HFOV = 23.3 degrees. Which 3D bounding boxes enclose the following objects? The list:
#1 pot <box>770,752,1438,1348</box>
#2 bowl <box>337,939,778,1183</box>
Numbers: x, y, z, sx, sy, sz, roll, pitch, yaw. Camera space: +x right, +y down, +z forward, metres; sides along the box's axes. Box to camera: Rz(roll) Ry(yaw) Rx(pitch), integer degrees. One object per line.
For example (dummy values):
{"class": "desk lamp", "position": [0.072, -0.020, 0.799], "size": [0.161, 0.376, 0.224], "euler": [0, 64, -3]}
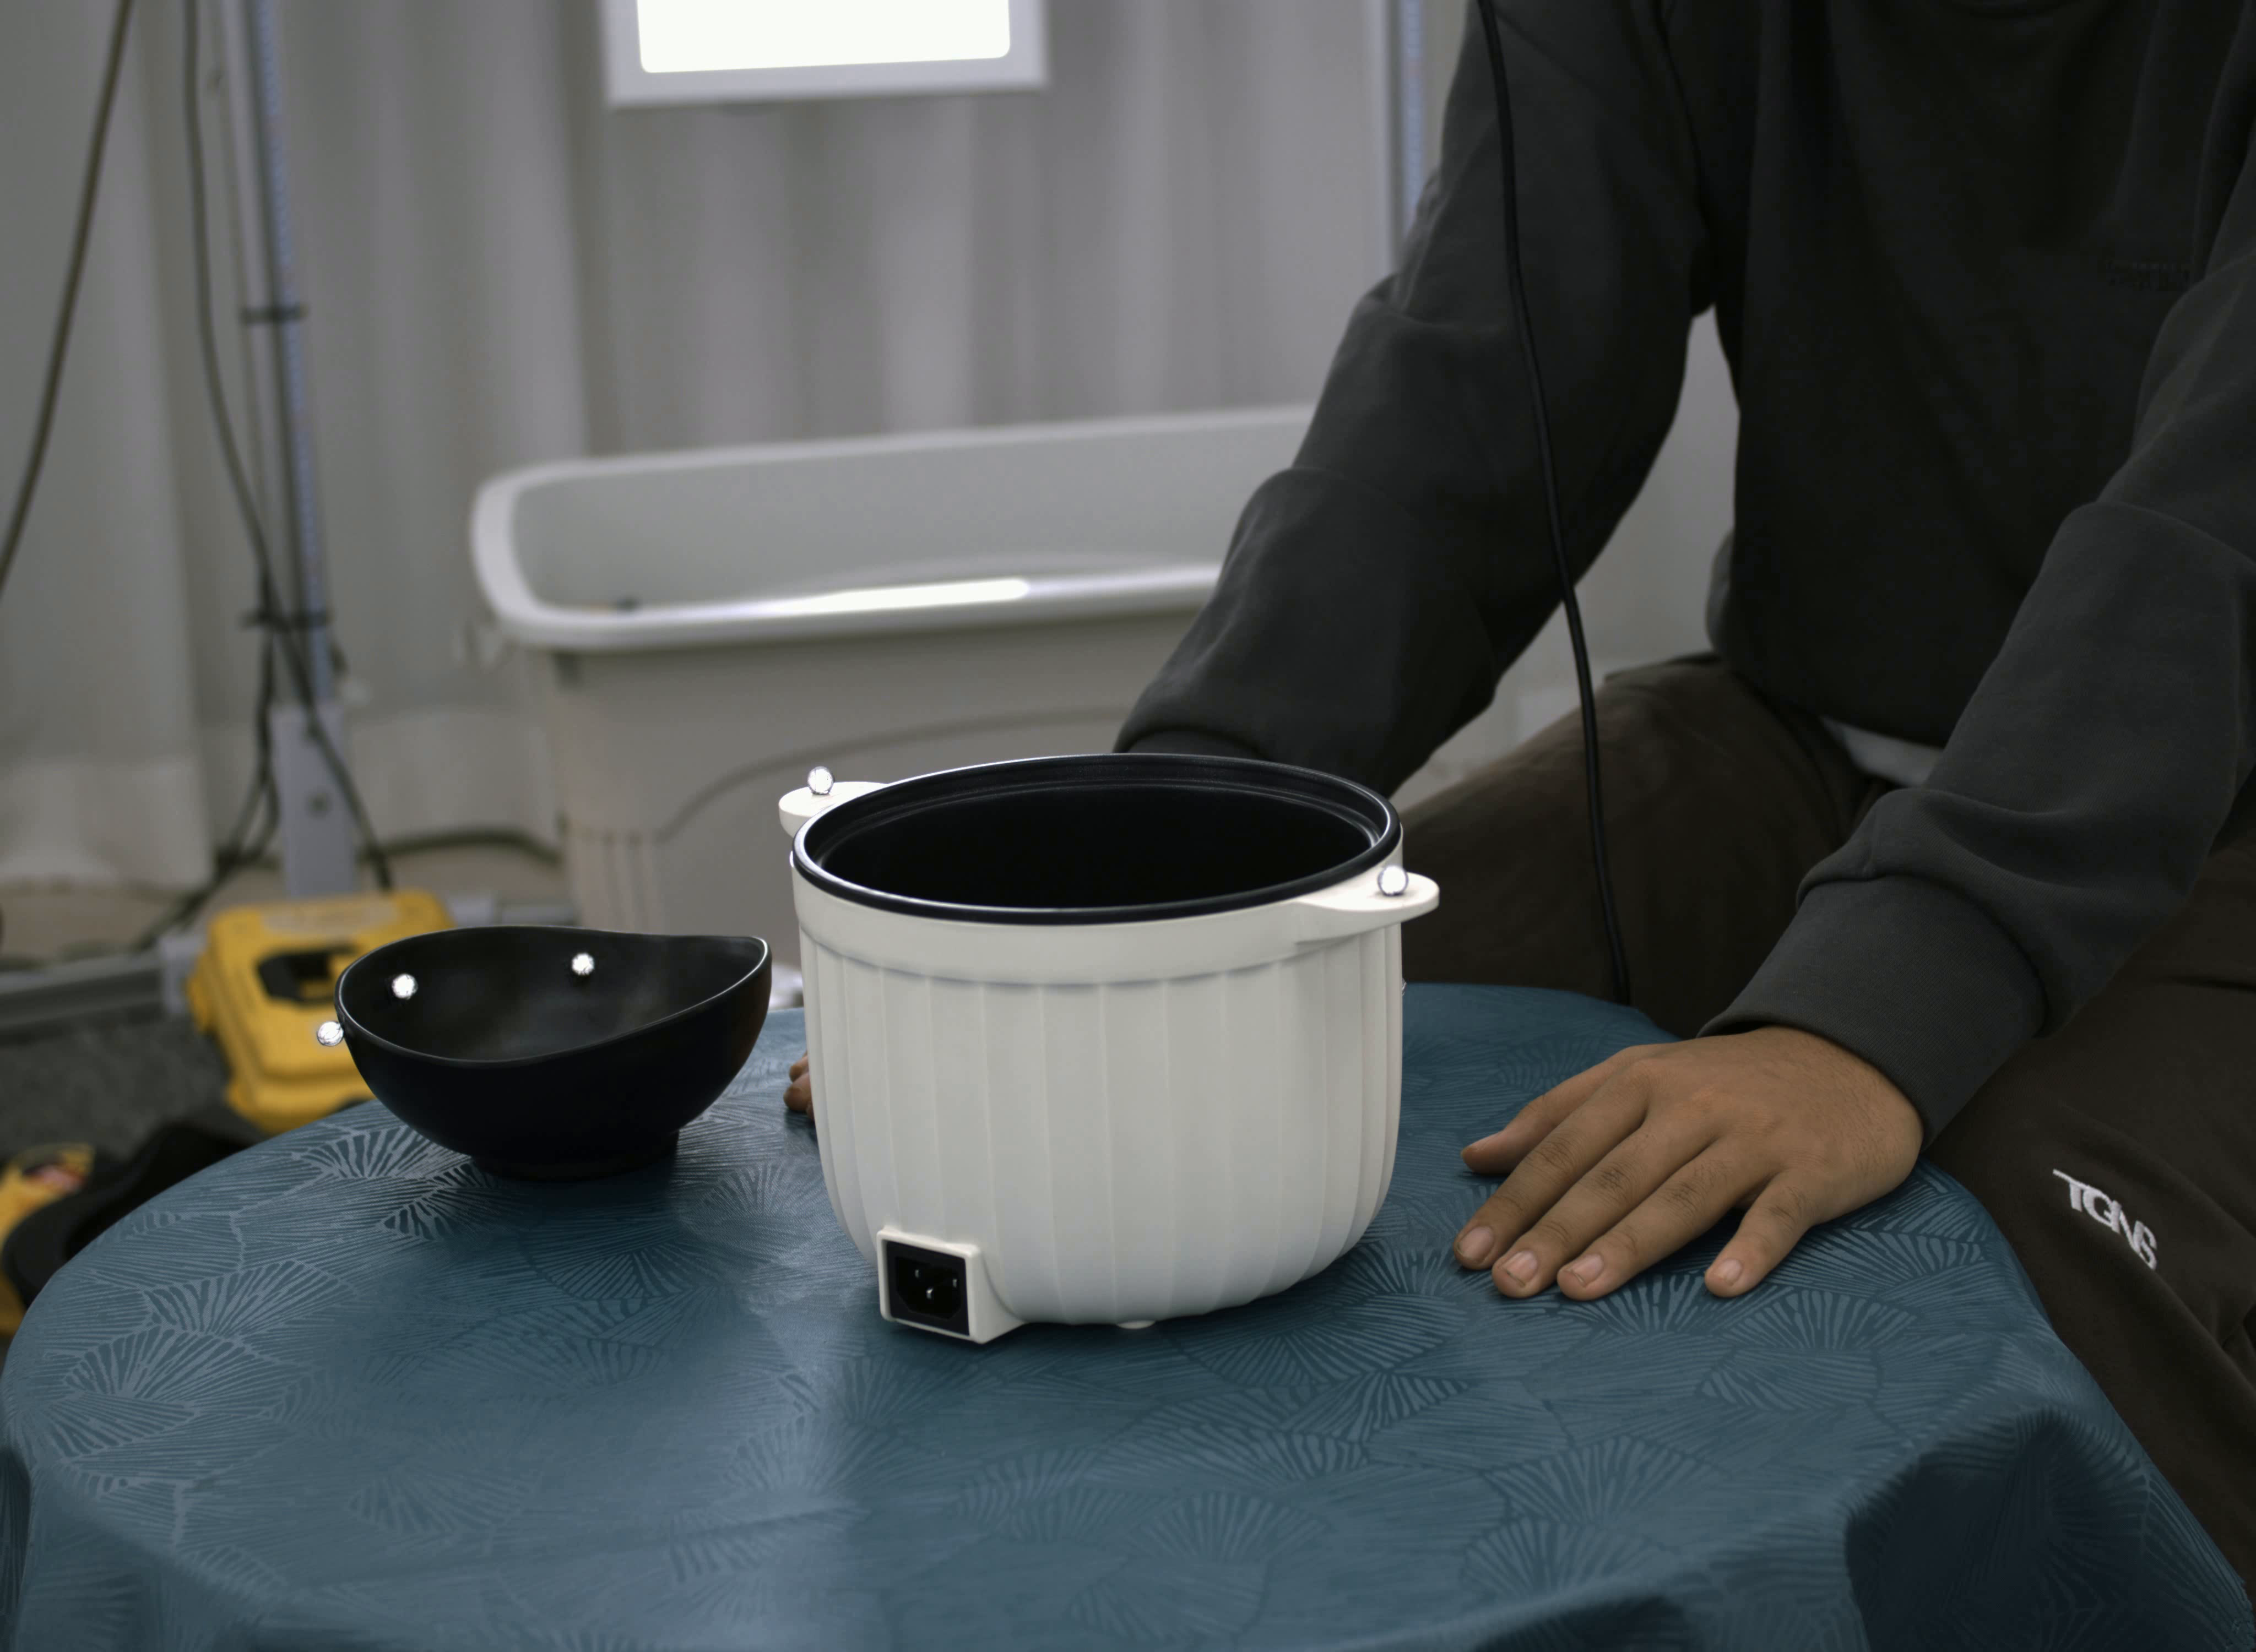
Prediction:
{"class": "pot", "position": [-0.005, 0.064, 1.643], "size": [0.241, 0.142, 0.190], "euler": [10, 22, 37]}
{"class": "bowl", "position": [-0.182, 0.076, 1.771], "size": [0.137, 0.066, 0.171], "euler": [2, 14, 16]}
